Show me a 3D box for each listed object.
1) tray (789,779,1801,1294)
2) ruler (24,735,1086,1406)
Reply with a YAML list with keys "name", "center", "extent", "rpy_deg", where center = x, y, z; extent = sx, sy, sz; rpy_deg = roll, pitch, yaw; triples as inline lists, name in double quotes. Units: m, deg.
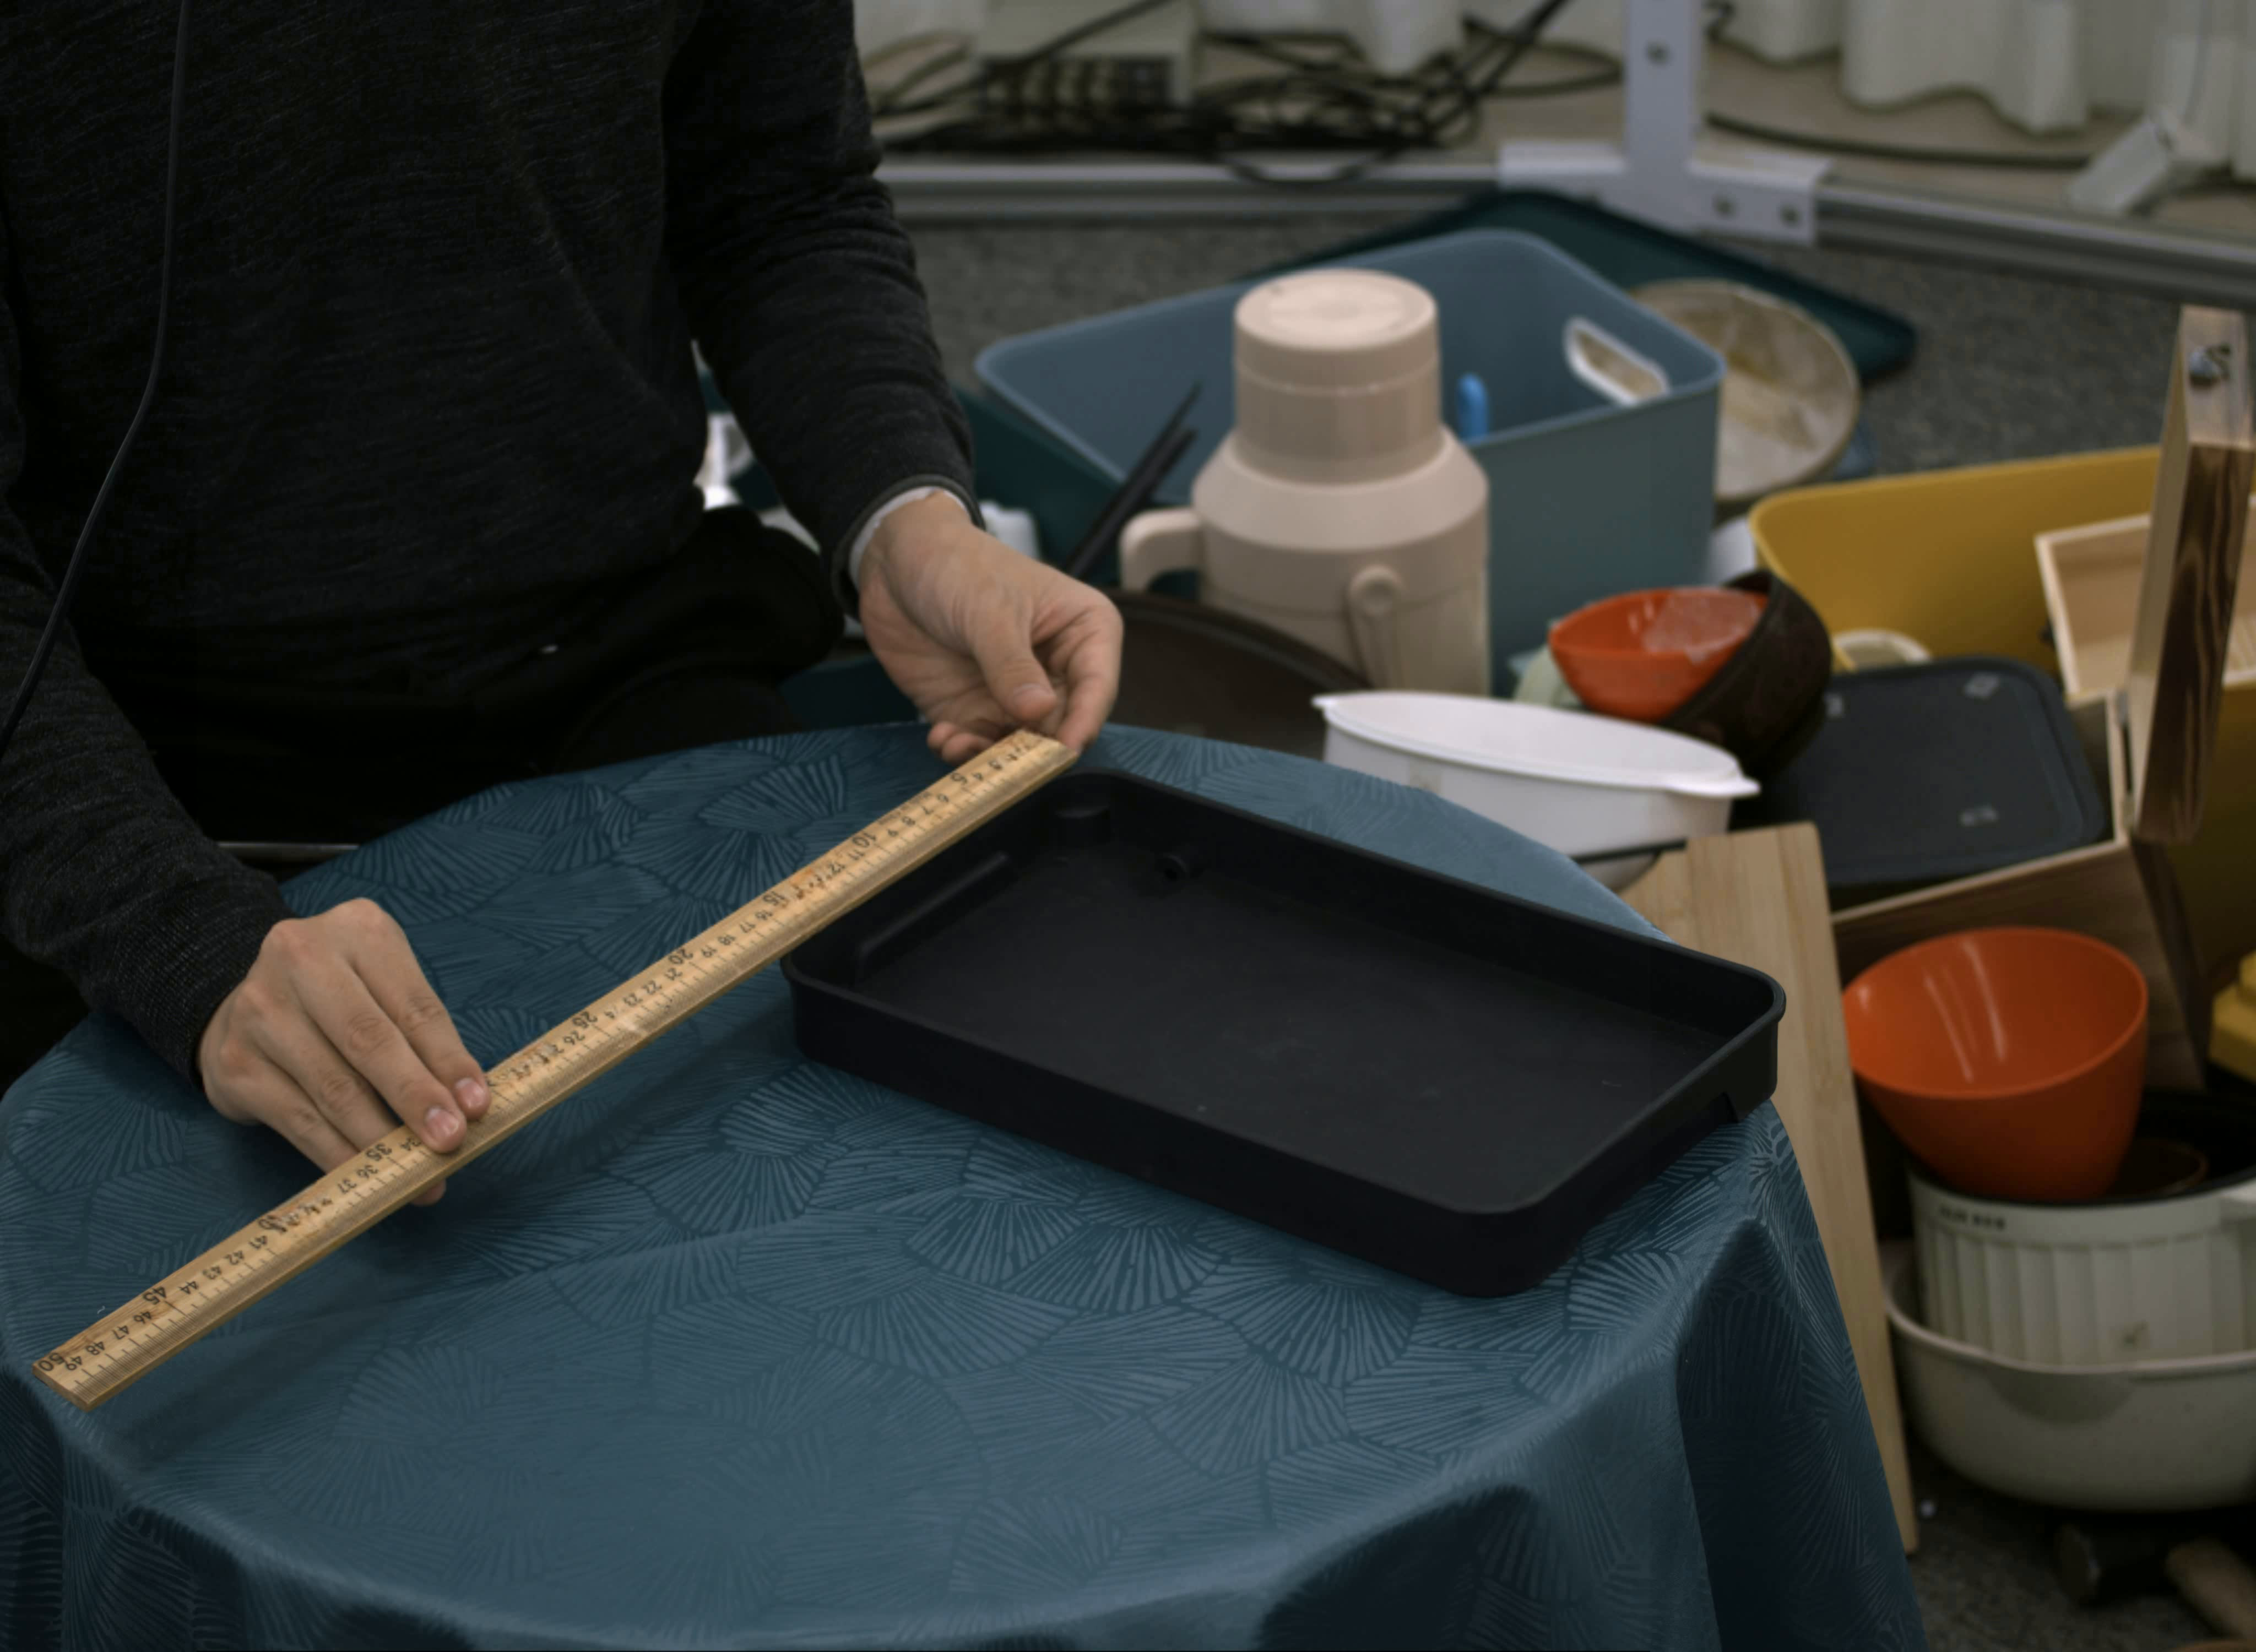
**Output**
- name: "tray"
  center: [0.055, 0.067, 1.923]
  extent: [0.316, 0.036, 0.187]
  rpy_deg: [16, 32, 33]
- name: "ruler"
  center: [-0.177, 0.071, 1.893]
  extent: [0.027, 0.006, 0.508]
  rpy_deg: [27, 39, 27]
